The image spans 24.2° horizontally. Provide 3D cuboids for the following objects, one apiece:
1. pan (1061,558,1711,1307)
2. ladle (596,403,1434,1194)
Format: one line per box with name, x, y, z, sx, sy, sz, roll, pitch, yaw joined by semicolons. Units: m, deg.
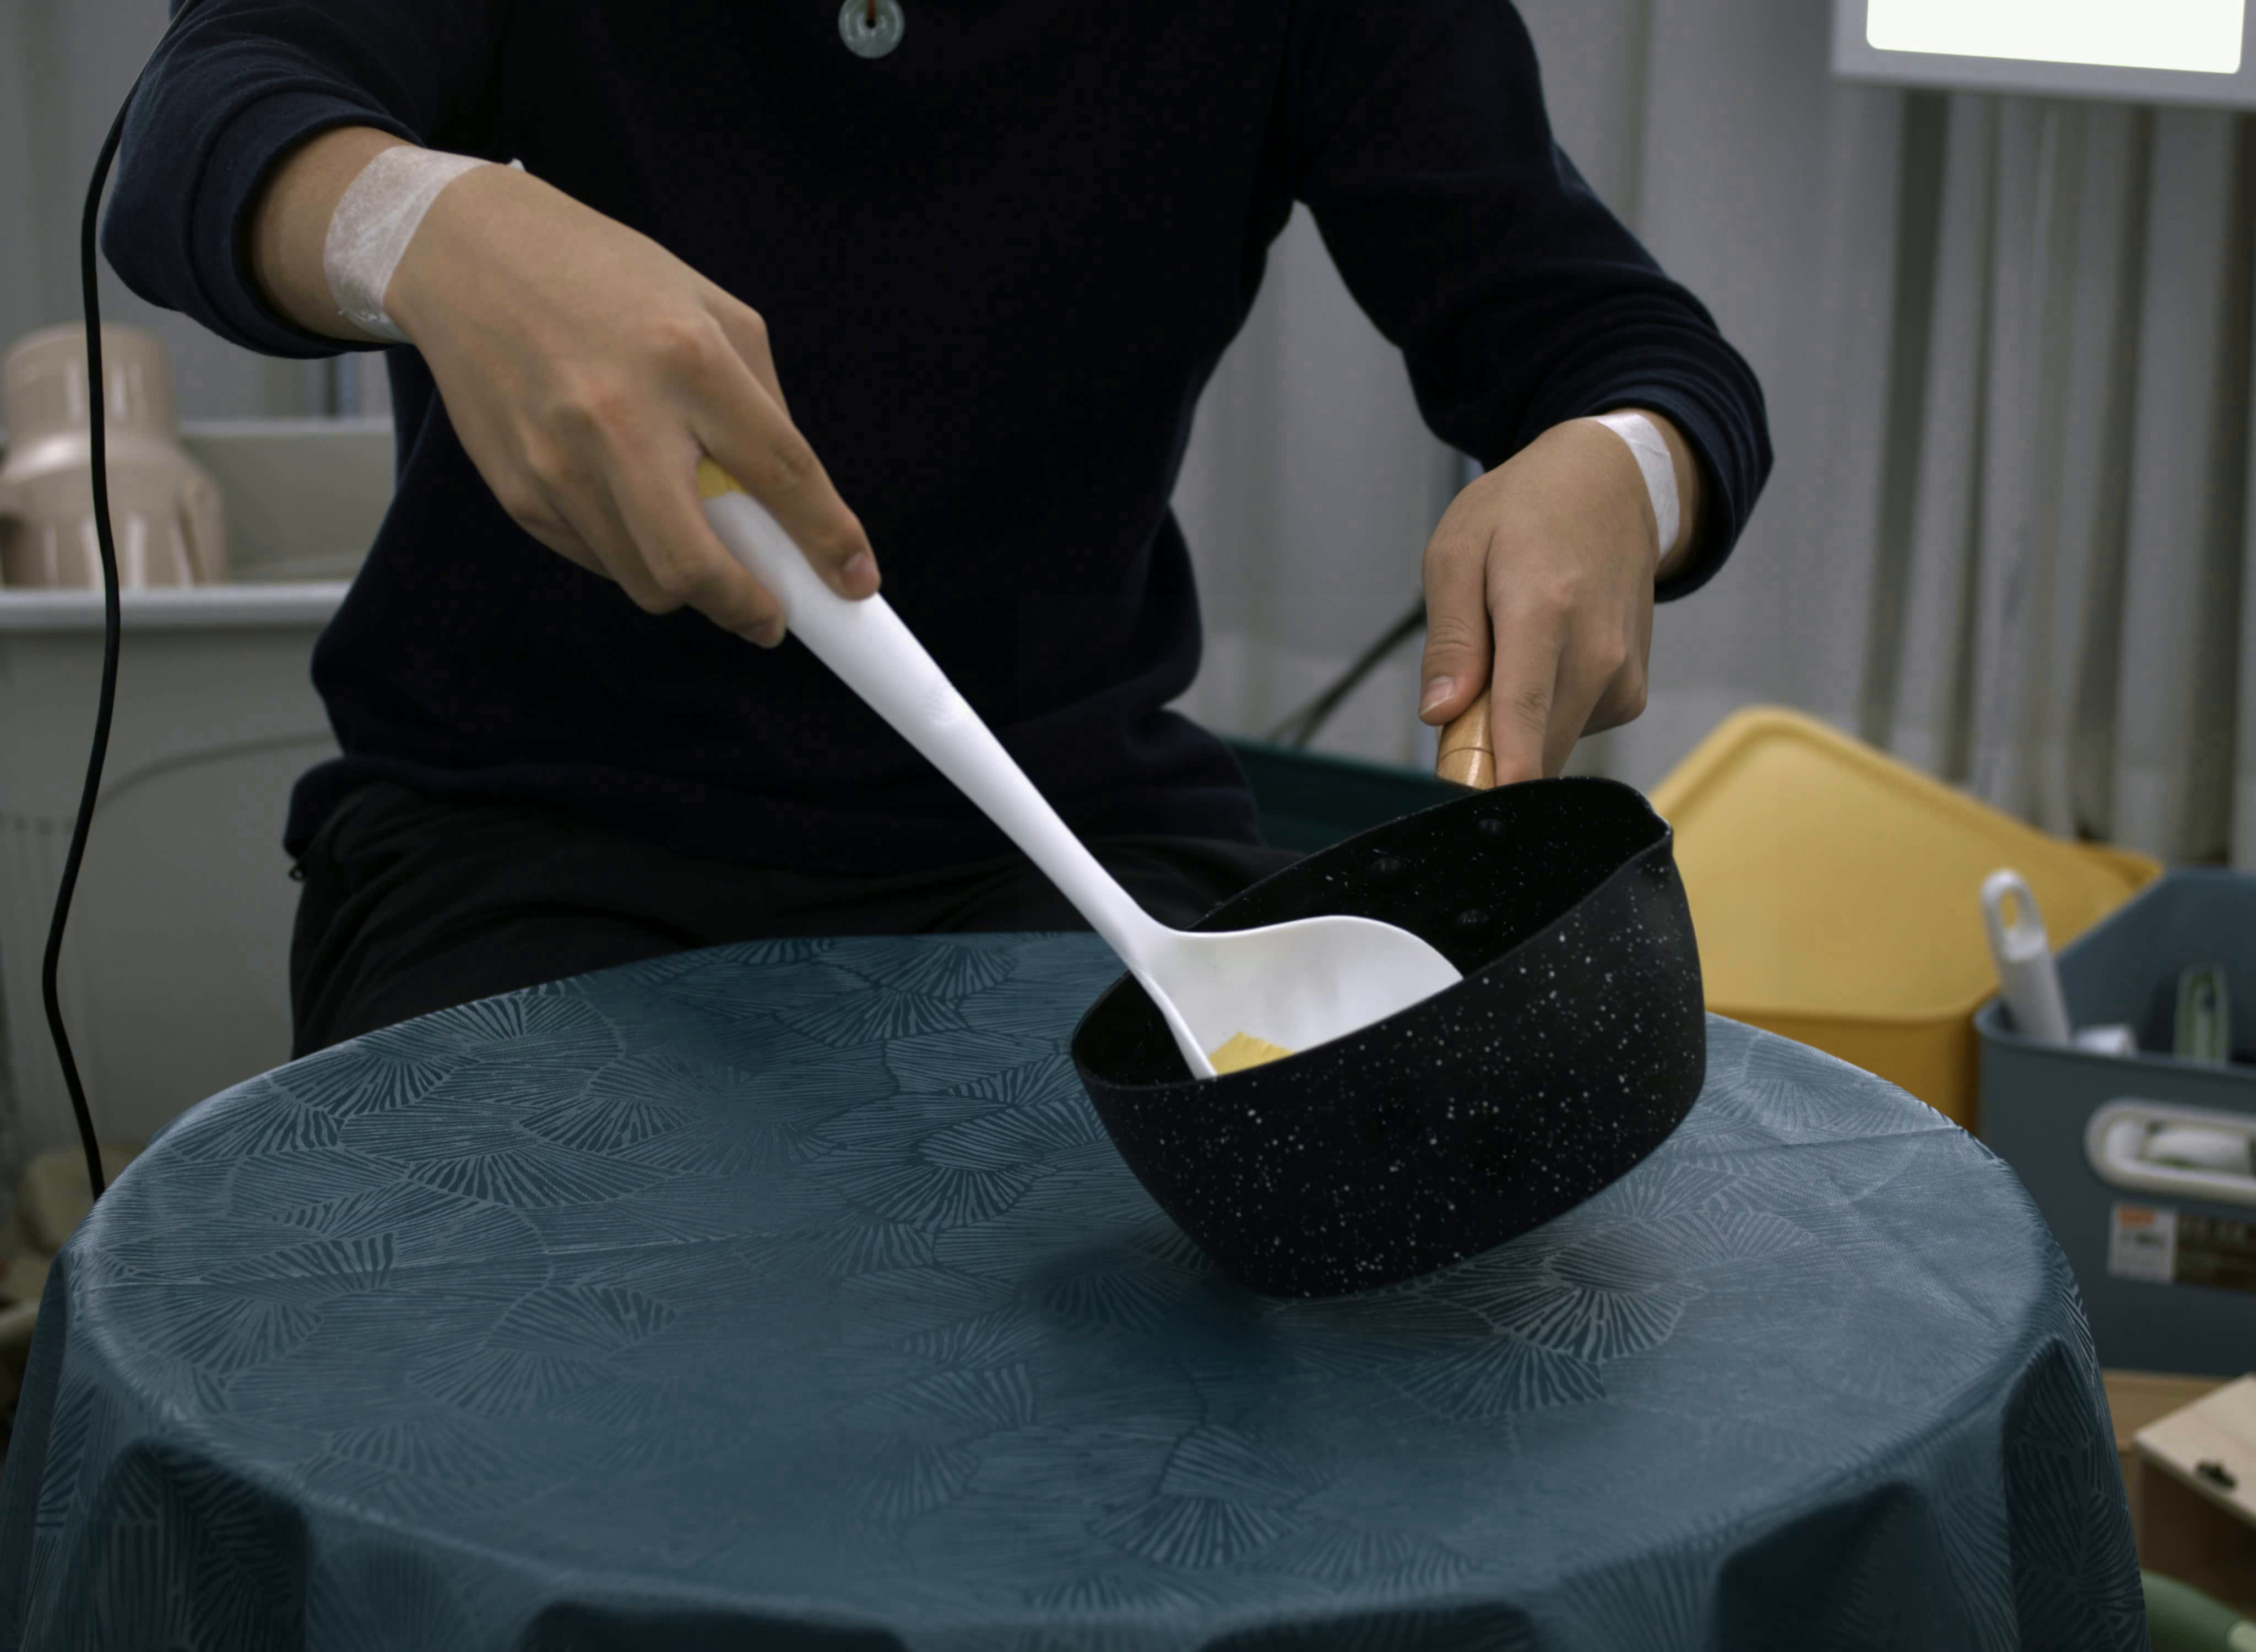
pan;0.099;0.025;1.609;0.206;0.109;0.342;-20;17;22
ladle;-0.025;-0.010;1.453;0.069;0.295;0.090;-18;33;51
